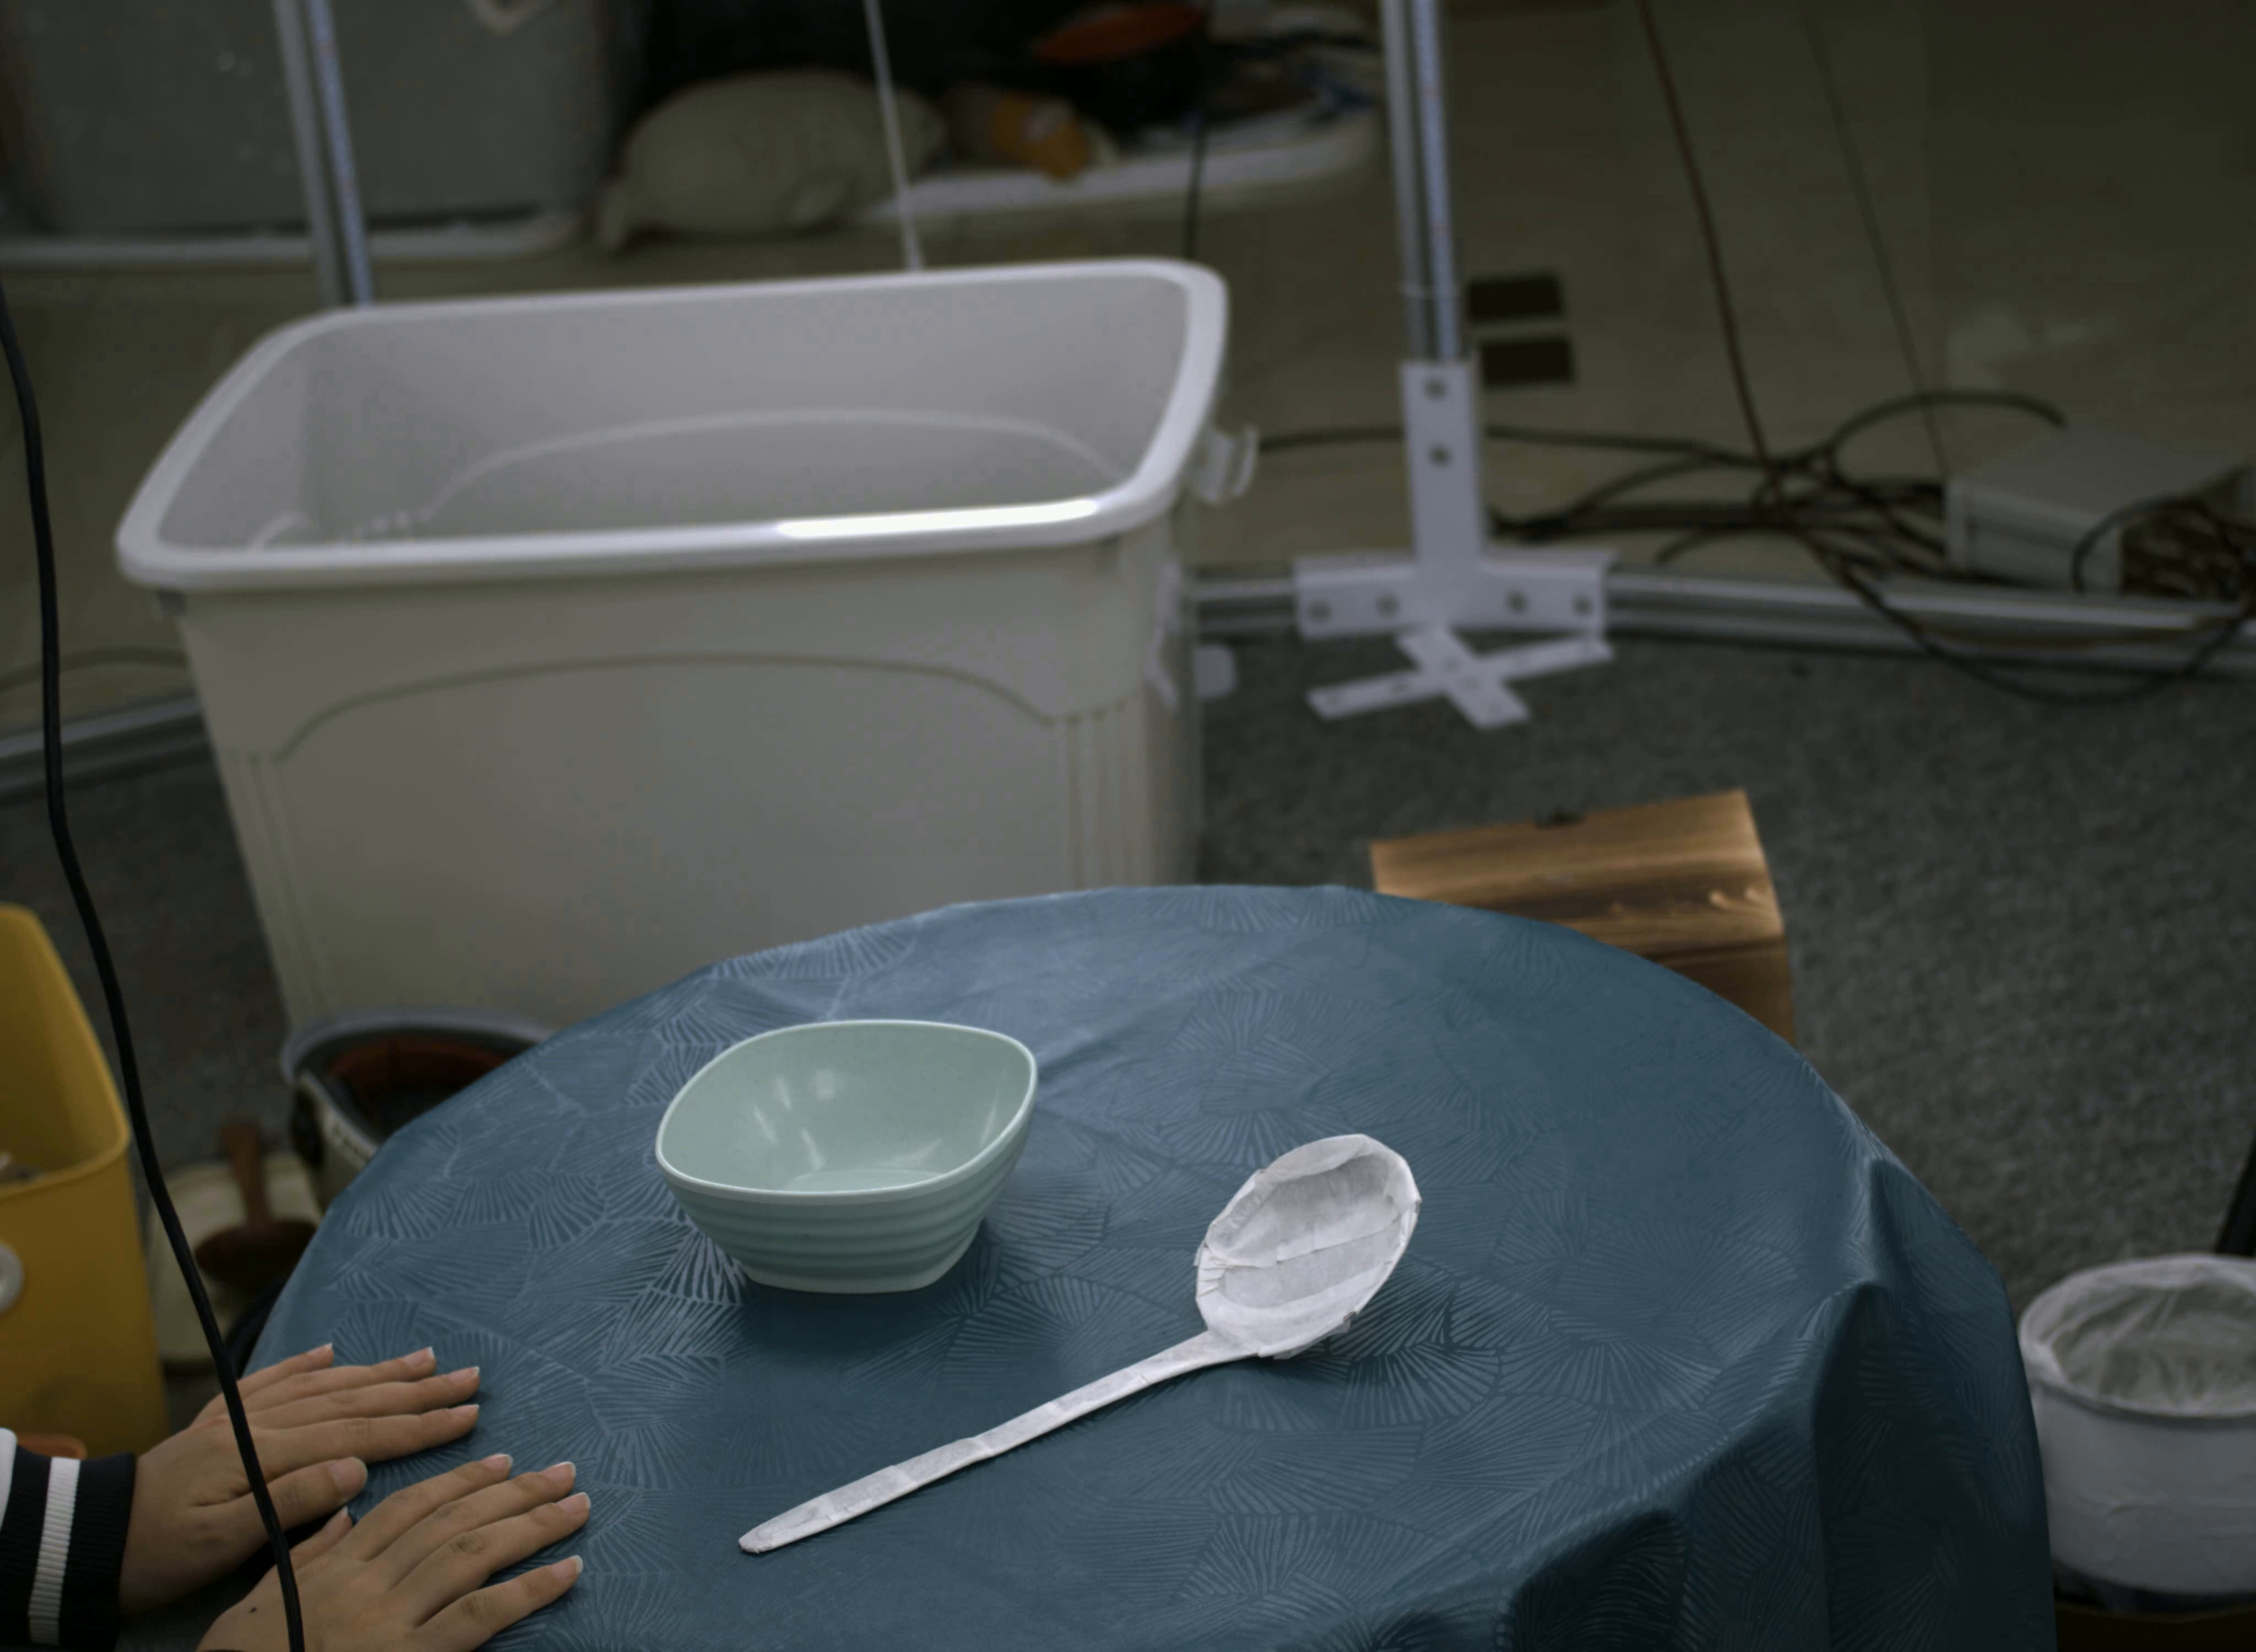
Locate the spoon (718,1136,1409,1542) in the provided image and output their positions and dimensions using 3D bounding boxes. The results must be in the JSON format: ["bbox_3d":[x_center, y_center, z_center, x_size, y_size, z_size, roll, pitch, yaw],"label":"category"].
[{"bbox_3d":[-0.025,0.178,2.001,0.276,0.060,0.100,-18,23,-24],"label":"spoon"}]

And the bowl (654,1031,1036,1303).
[{"bbox_3d":[-0.102,0.133,2.125,0.151,0.059,0.149,-6,25,3],"label":"bowl"}]
